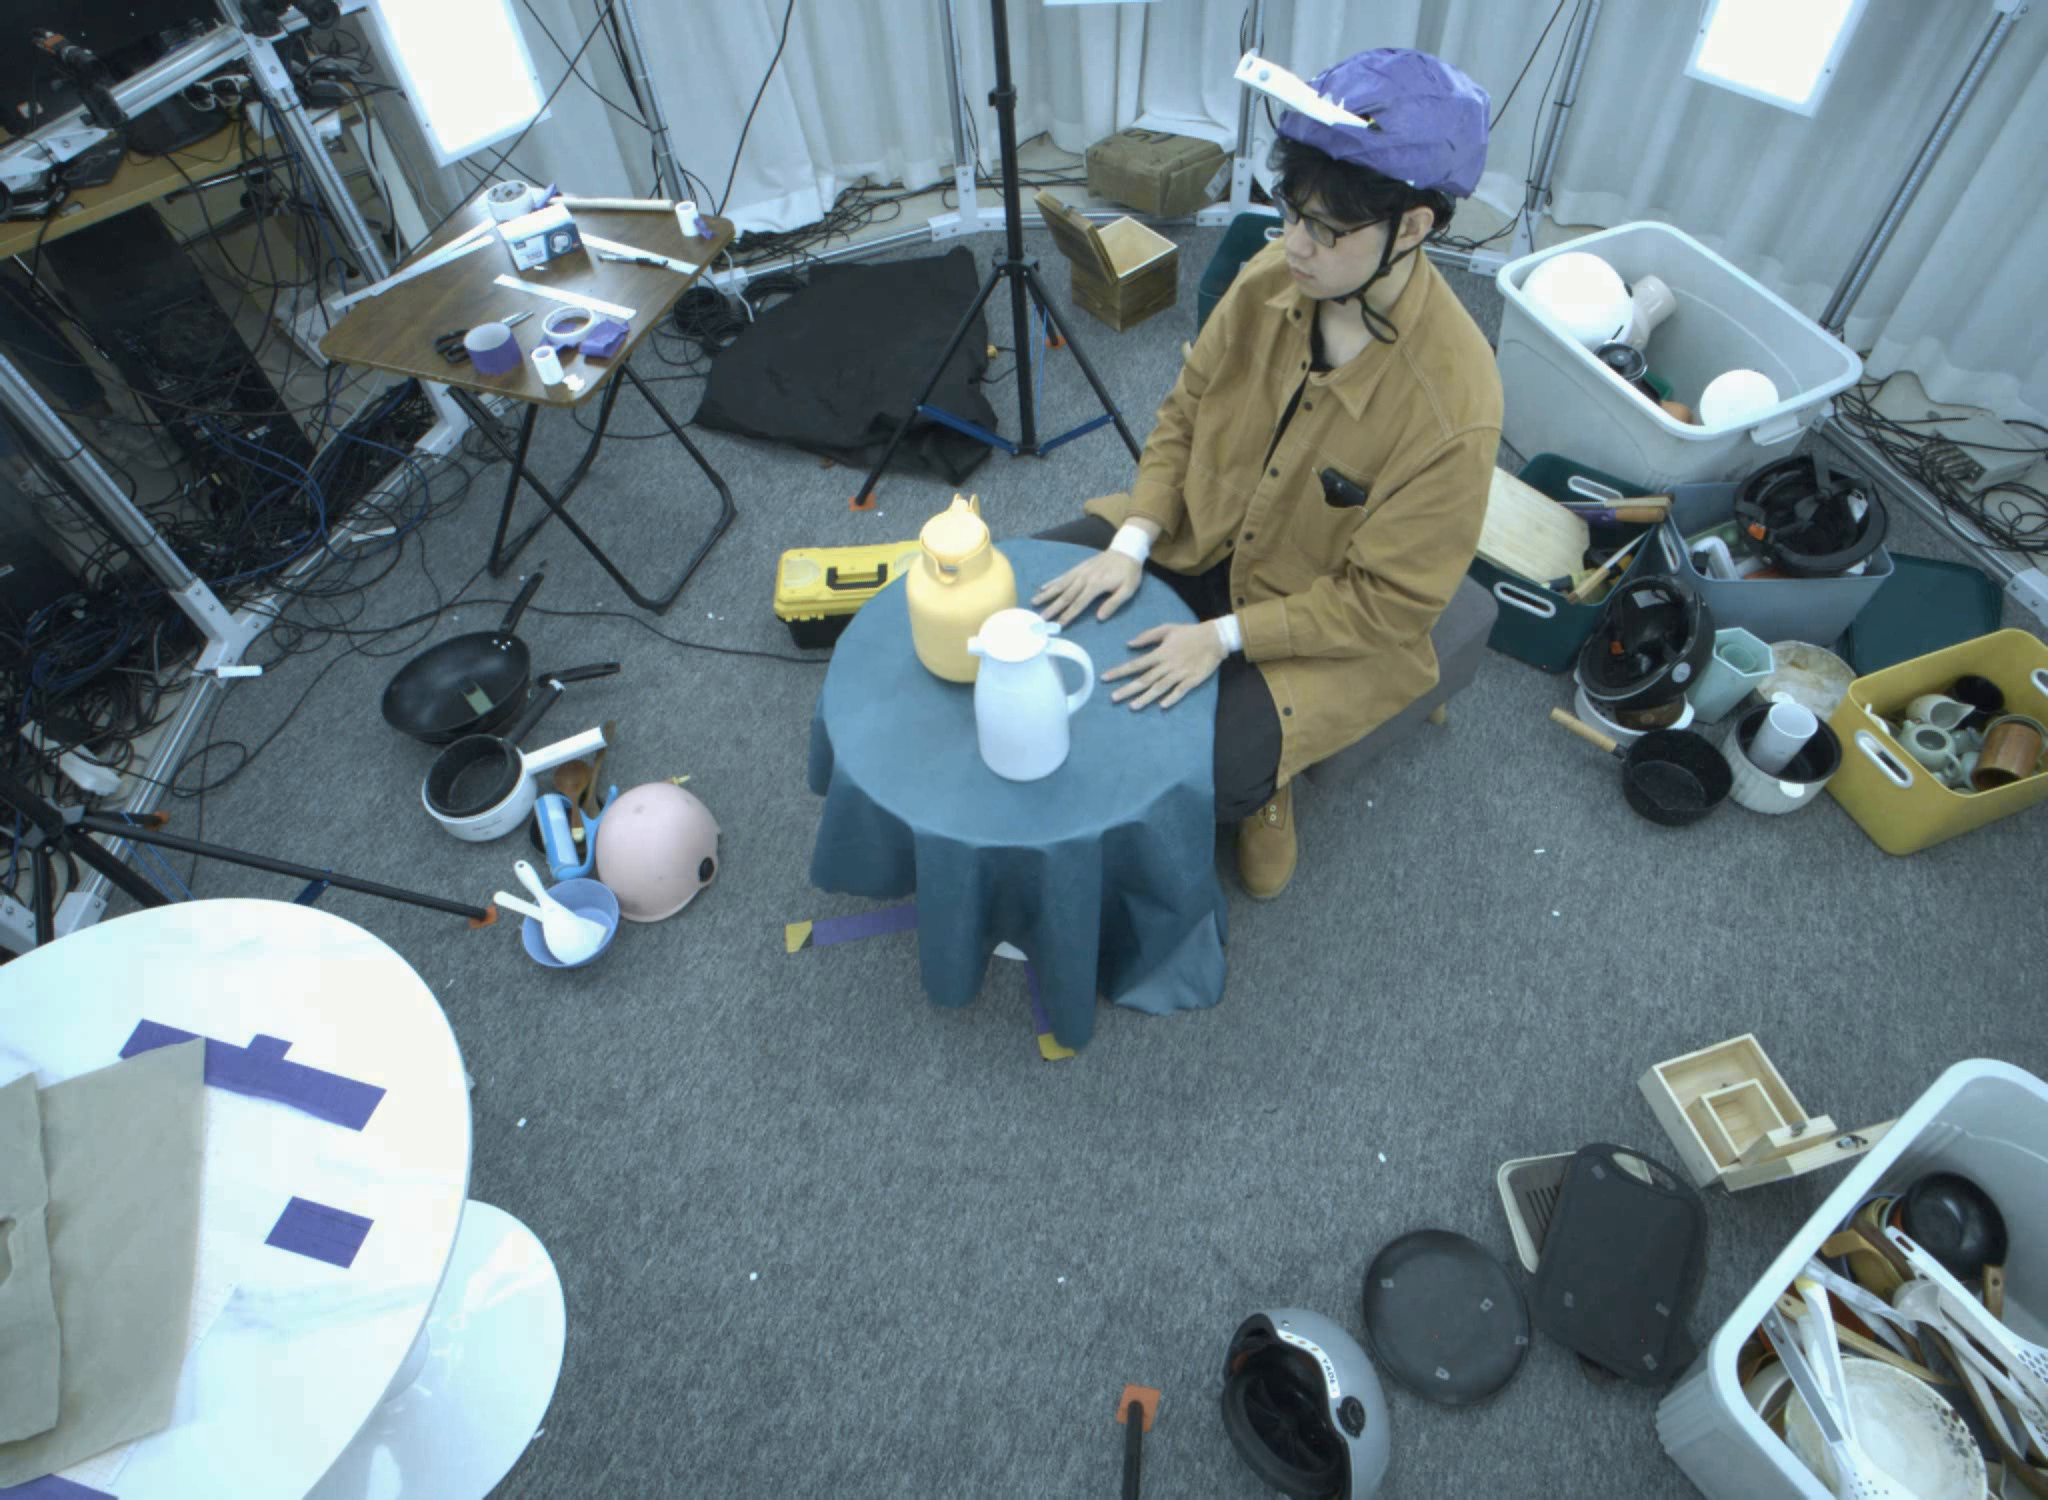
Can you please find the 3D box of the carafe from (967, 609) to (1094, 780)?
[{"bbox_3d":[0.012,-0.083,1.689,0.168,0.251,0.131,-3,54,0],"label":"carafe"}]

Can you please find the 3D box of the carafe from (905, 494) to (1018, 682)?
[{"bbox_3d":[-0.088,-0.245,1.800,0.163,0.263,0.201,7,56,6],"label":"carafe"}]
